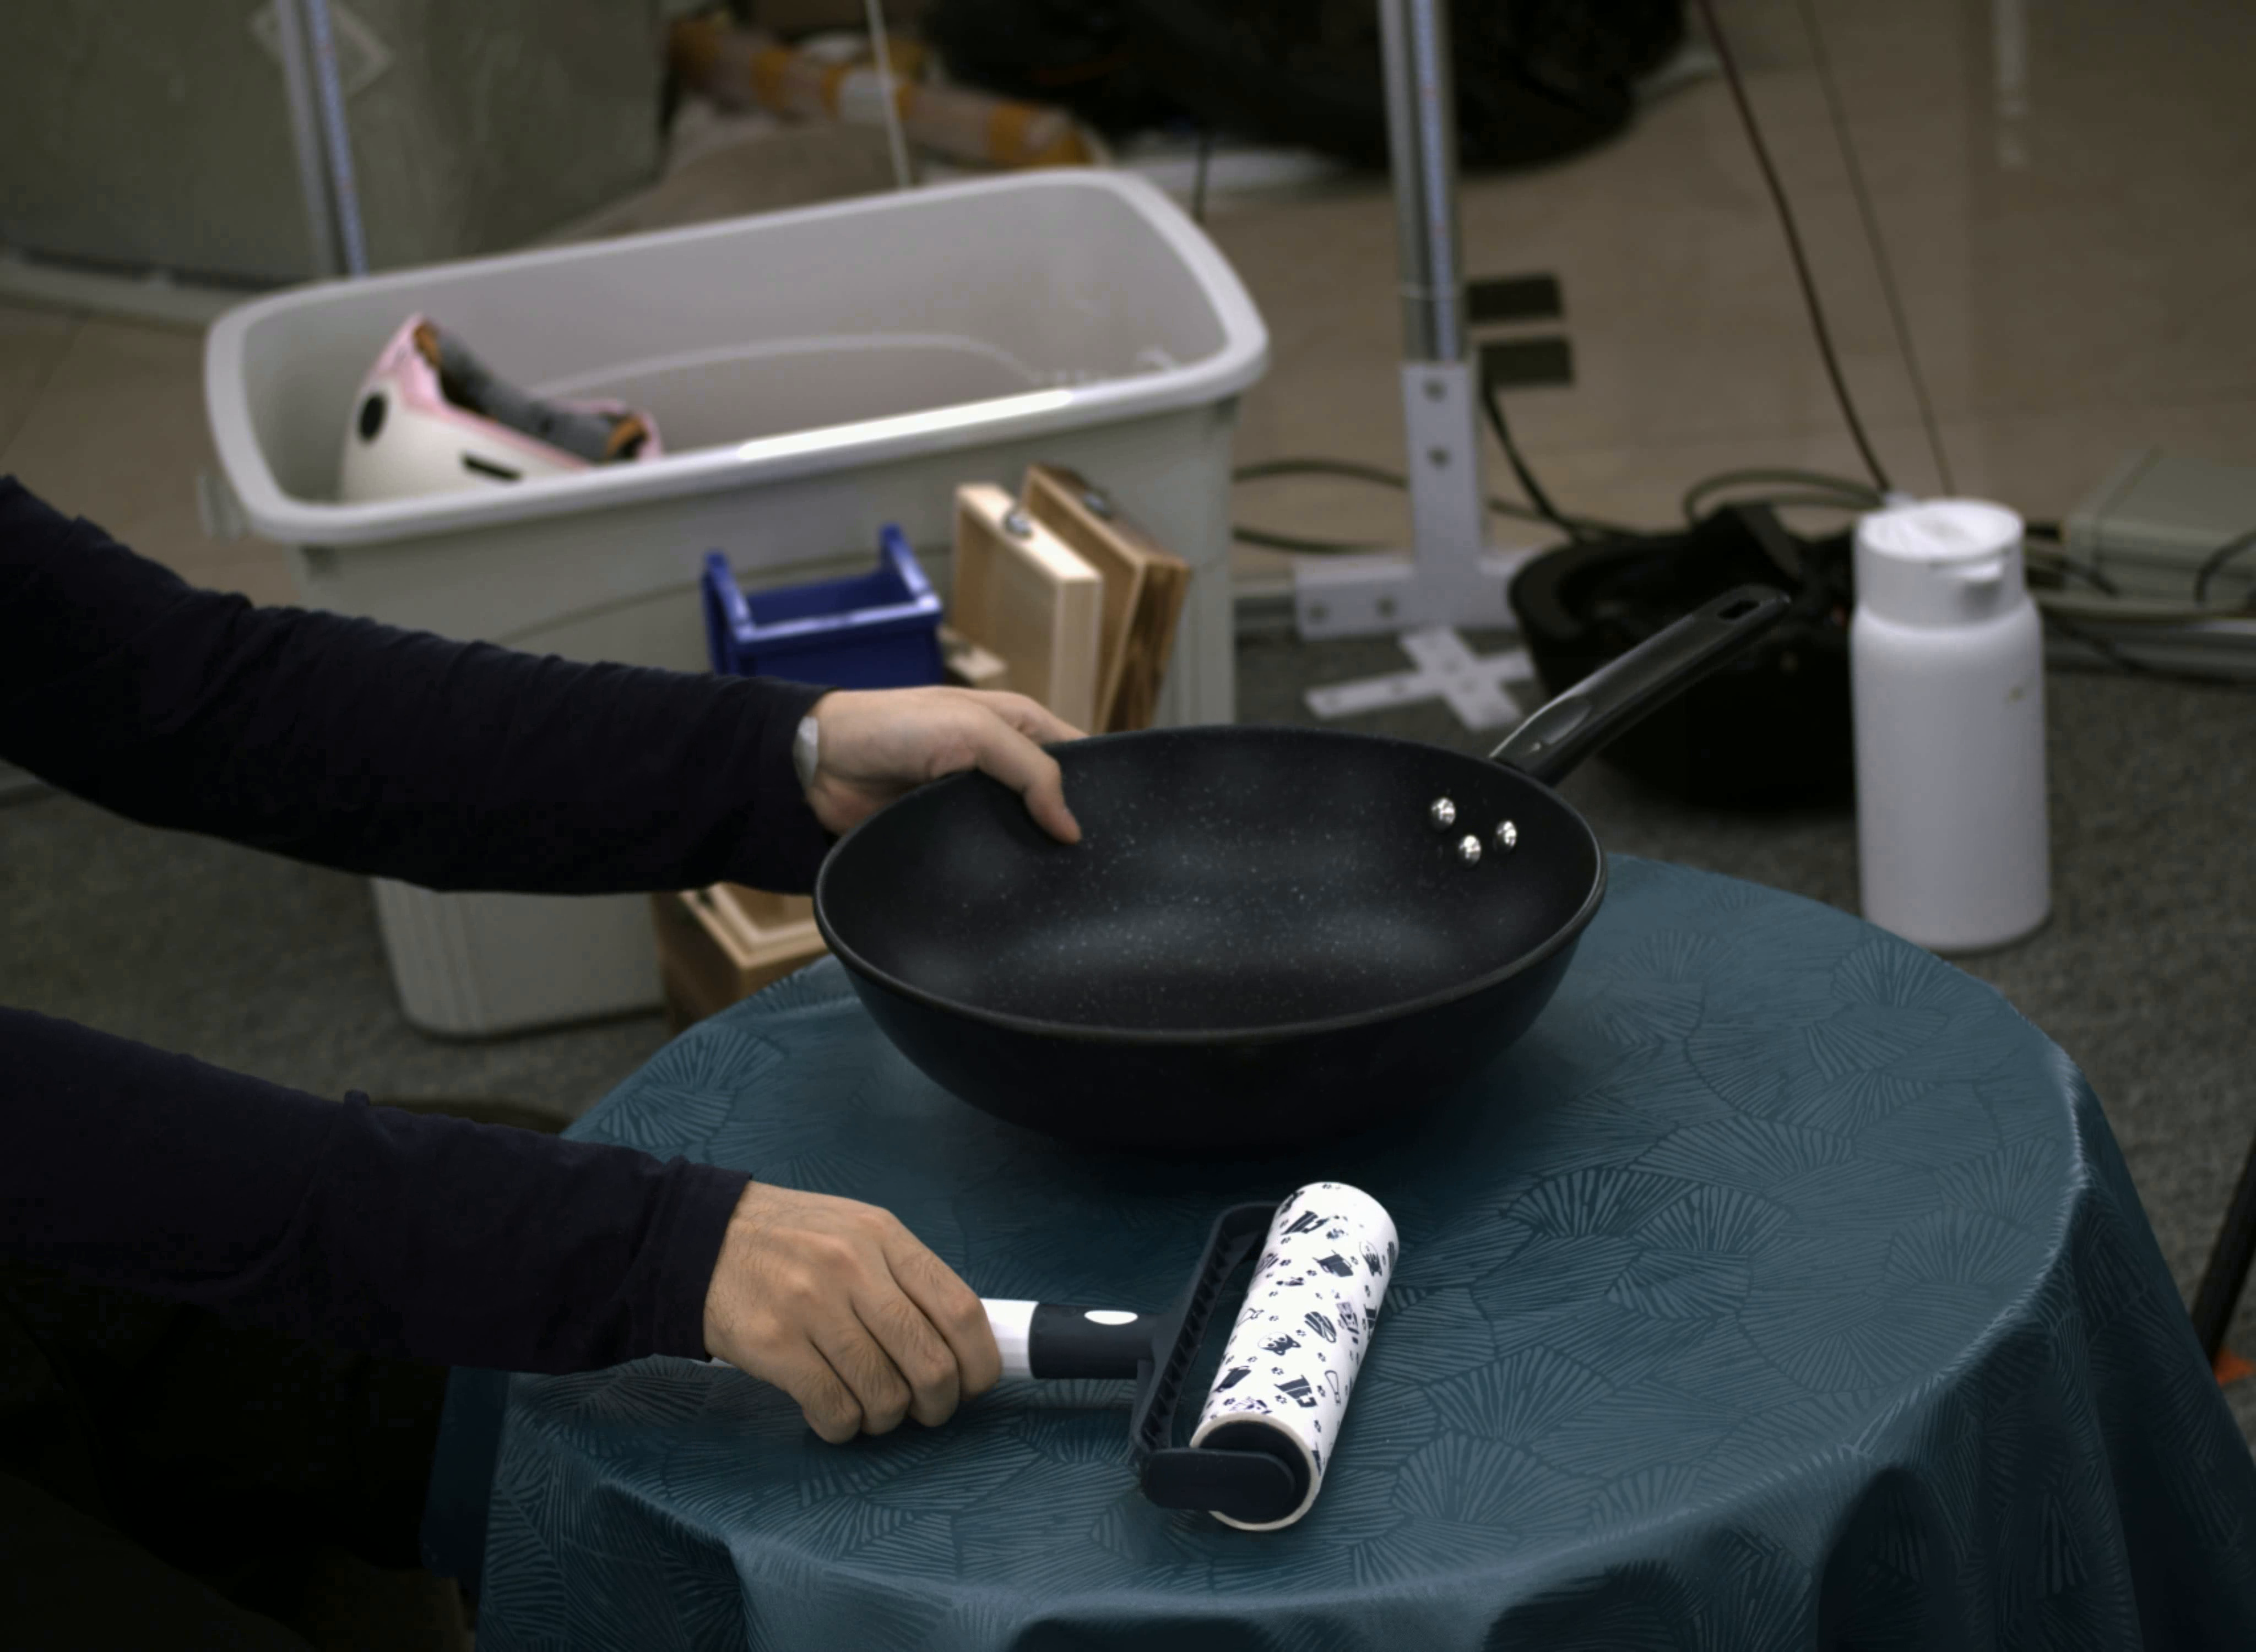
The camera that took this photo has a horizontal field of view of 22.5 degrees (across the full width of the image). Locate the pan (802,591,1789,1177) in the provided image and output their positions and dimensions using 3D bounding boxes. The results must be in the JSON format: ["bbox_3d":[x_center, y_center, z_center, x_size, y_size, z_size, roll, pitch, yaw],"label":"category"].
[{"bbox_3d":[0.092,0.023,2.249,0.473,0.113,0.307,-22,31,-36],"label":"pan"}]

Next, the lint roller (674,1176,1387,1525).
[{"bbox_3d":[-0.042,0.181,2.003,0.246,0.051,0.173,1,27,12],"label":"lint roller"}]
